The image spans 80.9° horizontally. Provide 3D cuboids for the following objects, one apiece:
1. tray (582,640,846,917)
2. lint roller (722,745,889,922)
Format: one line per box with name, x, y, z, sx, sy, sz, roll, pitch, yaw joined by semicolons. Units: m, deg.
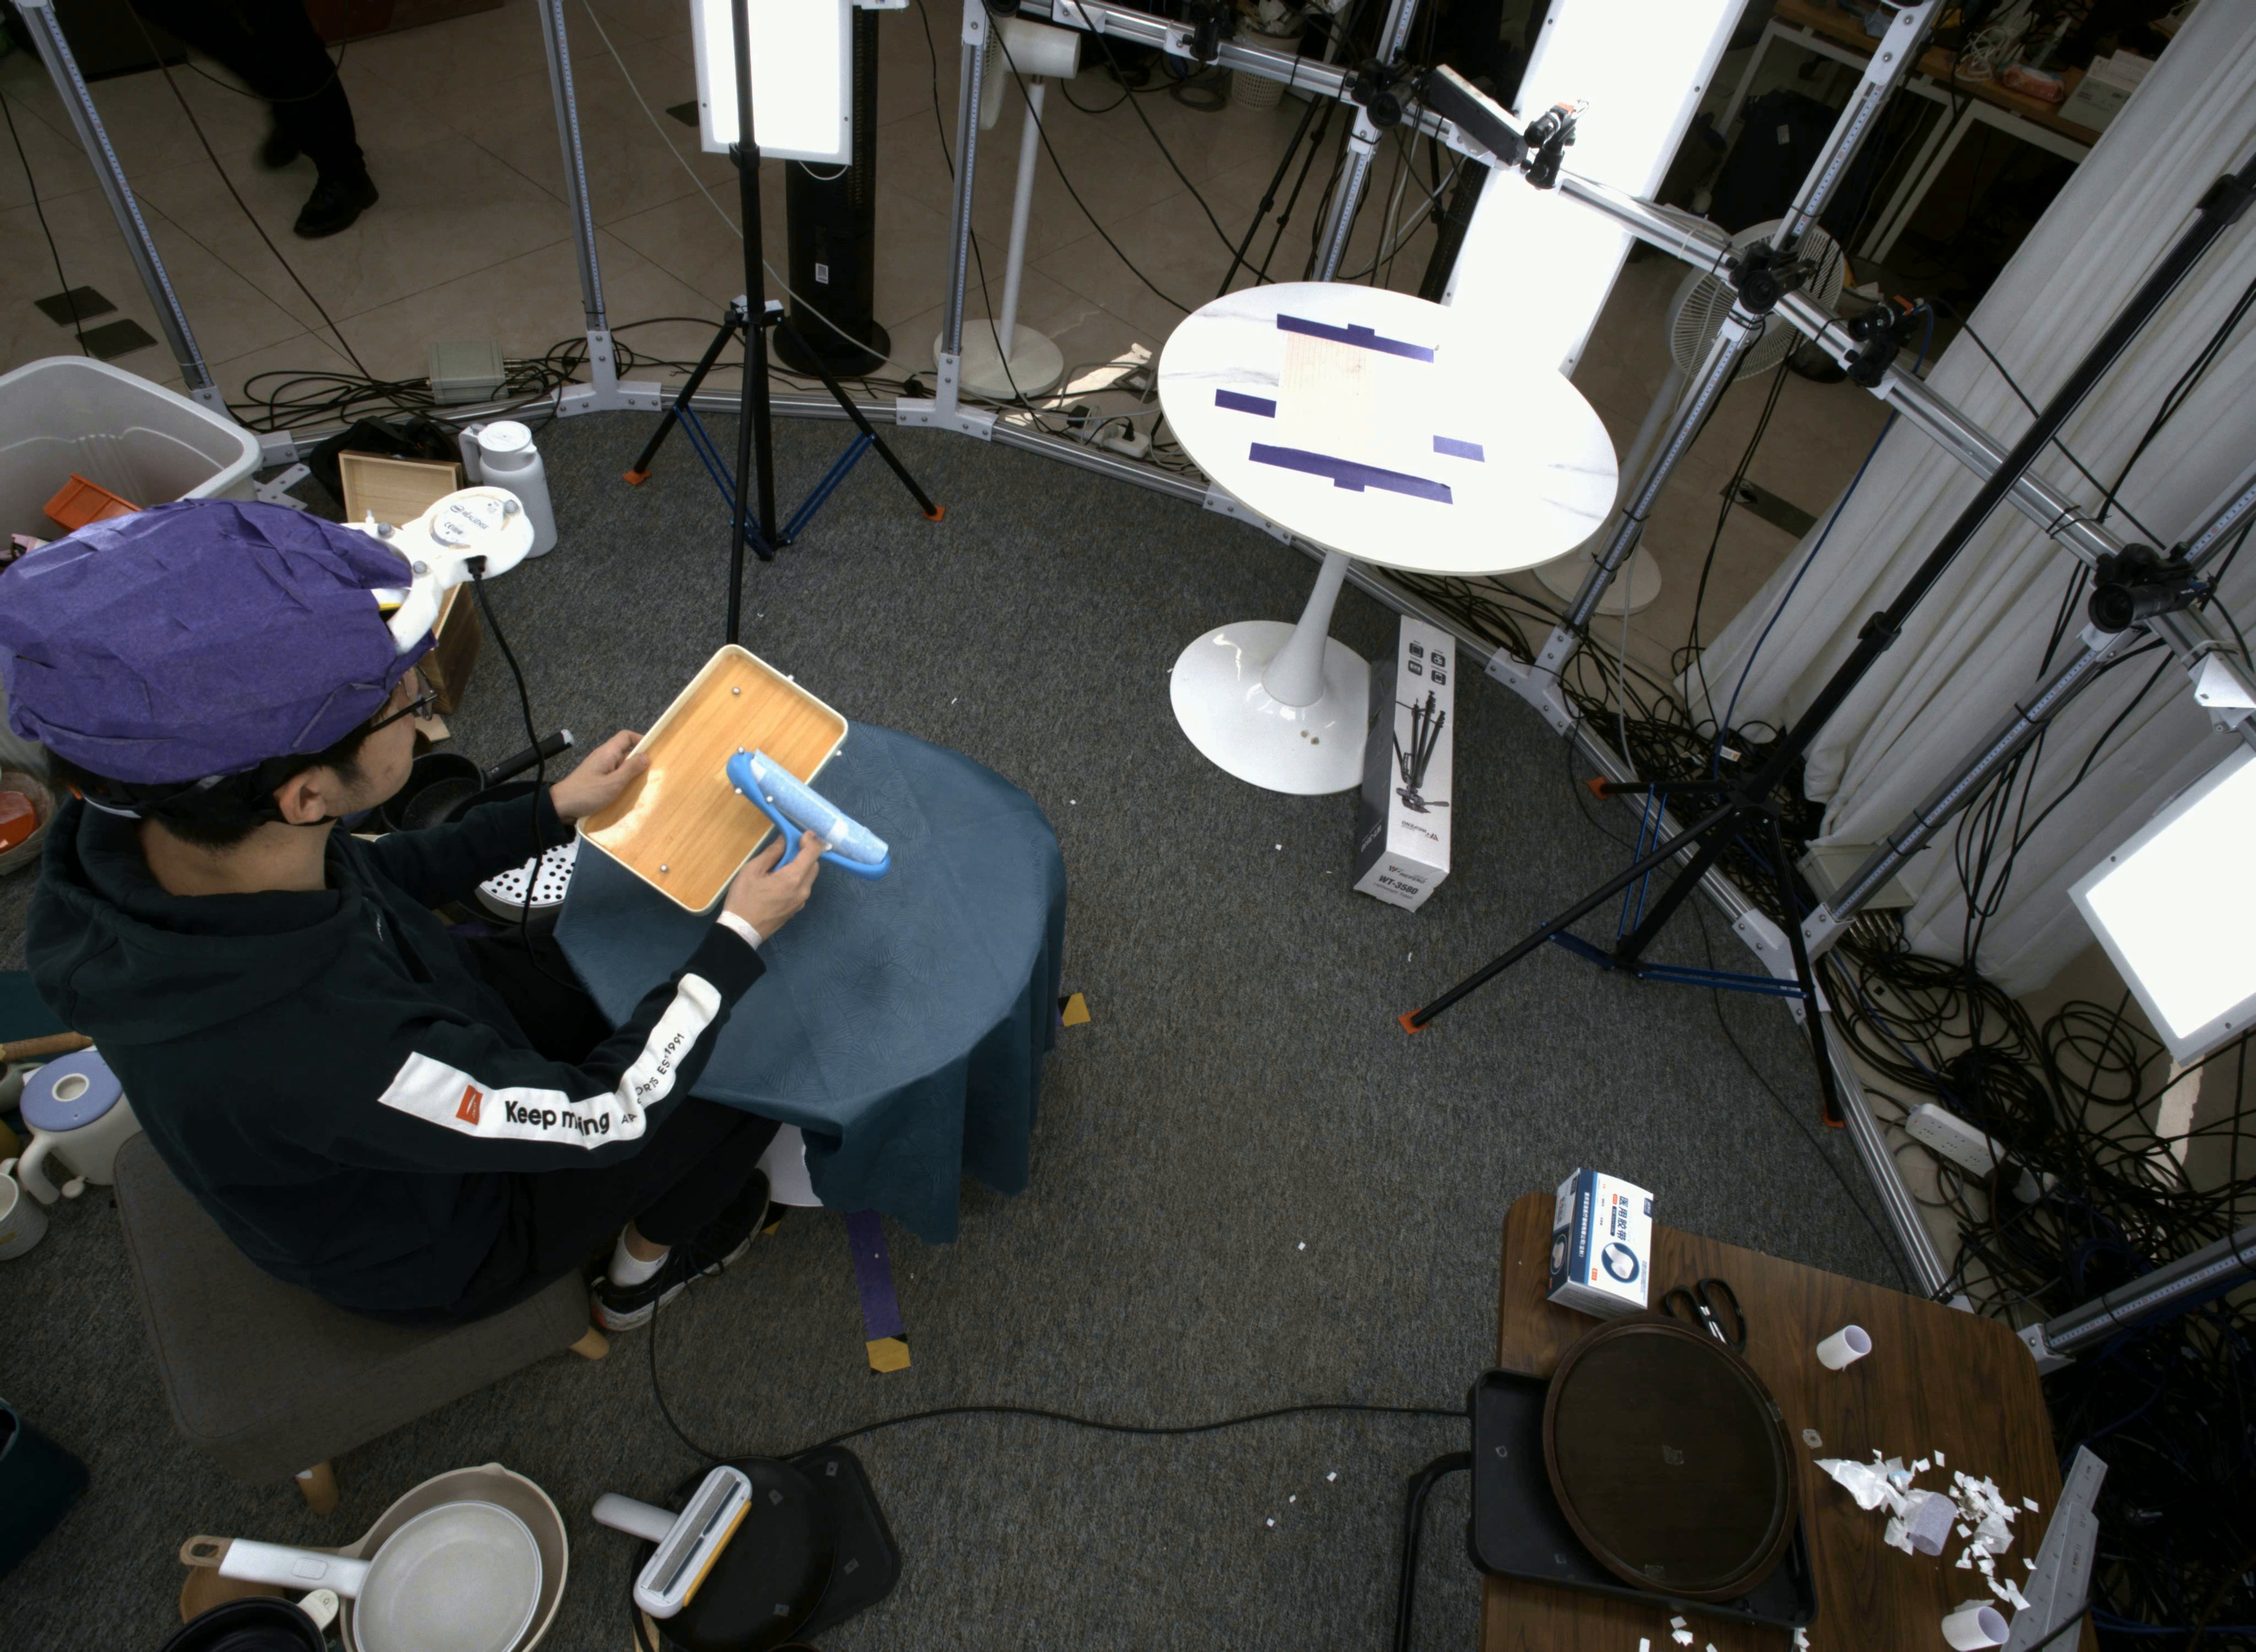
tray;-0.498;-0.061;1.549;0.191;0.027;0.300;35;72;-2
lint roller;-0.392;0.028;1.500;0.236;0.067;0.178;38;49;-29
